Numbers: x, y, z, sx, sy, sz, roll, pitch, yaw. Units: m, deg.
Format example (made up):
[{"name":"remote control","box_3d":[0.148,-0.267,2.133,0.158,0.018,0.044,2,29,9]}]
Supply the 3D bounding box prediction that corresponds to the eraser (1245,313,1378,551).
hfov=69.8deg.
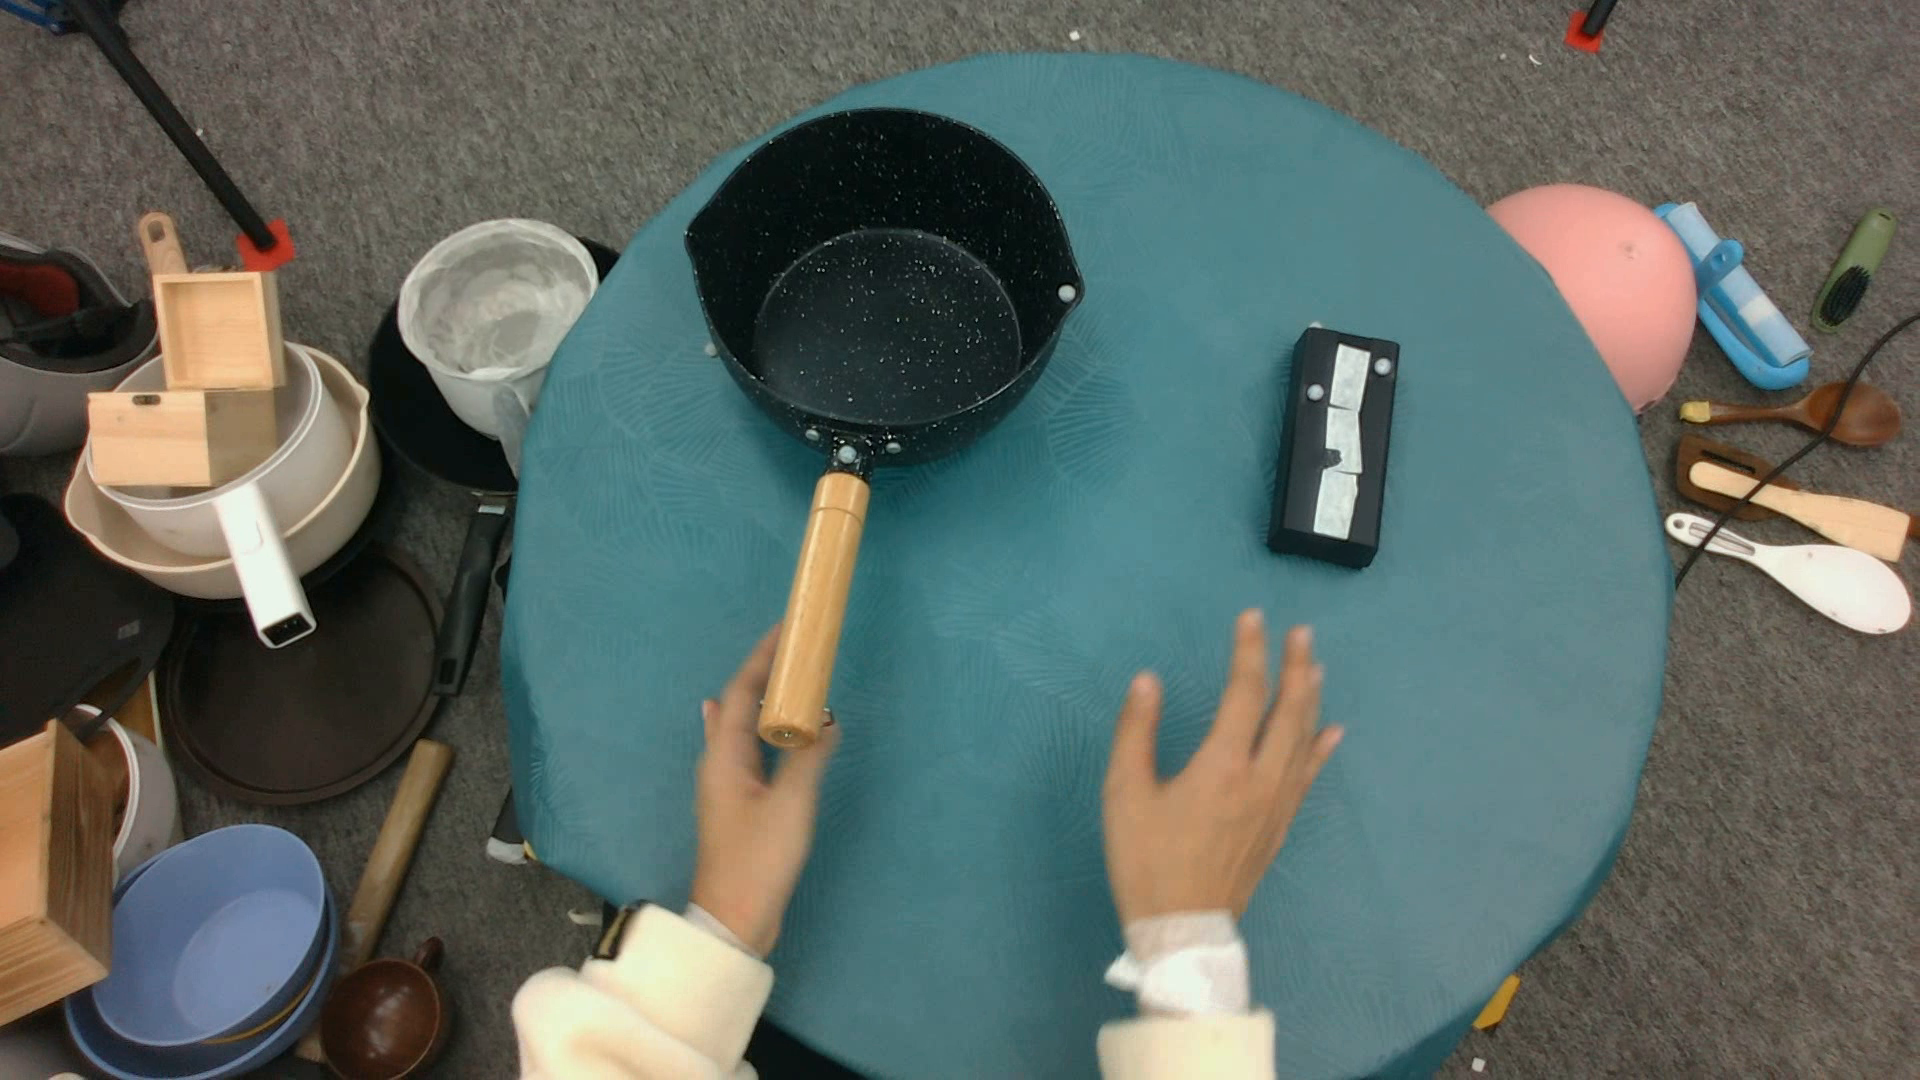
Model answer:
[{"name":"eraser","box_3d":[0.185,-0.059,0.727,0.053,0.030,0.126,12,69,3]}]

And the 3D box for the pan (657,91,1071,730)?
[{"name":"pan","box_3d":[-0.057,-0.062,0.673,0.207,0.108,0.344,7,66,0]}]
